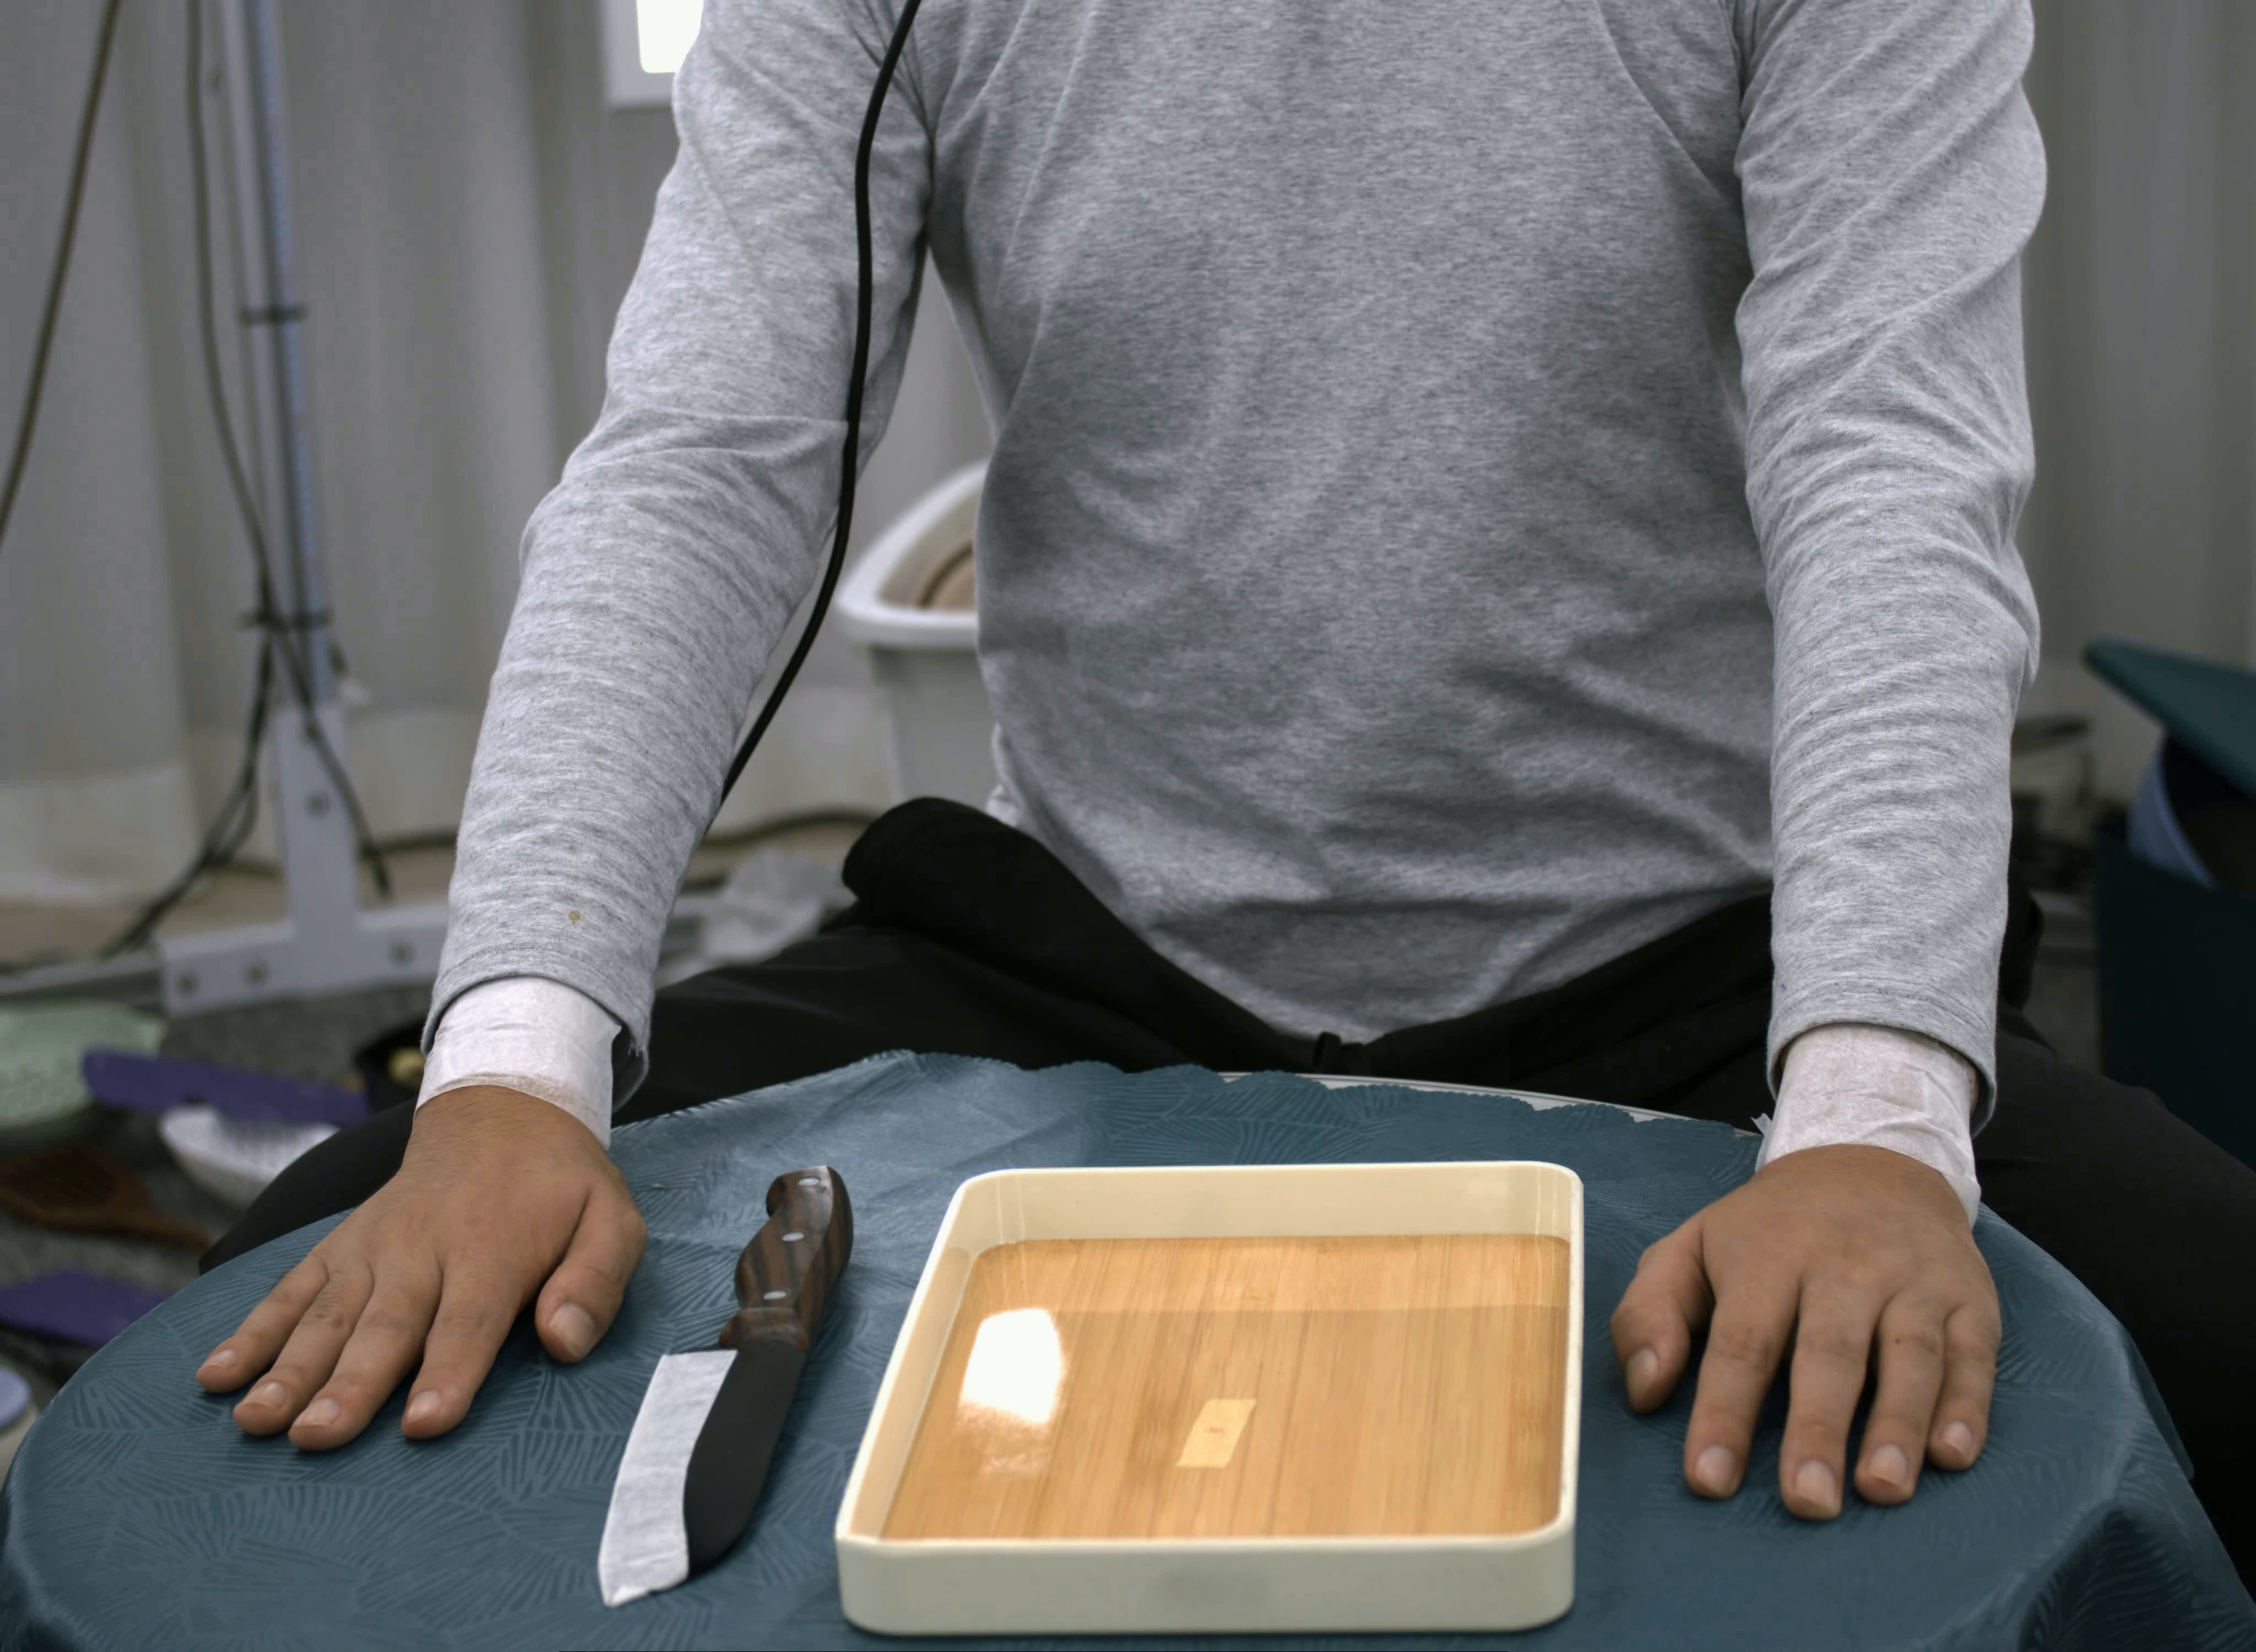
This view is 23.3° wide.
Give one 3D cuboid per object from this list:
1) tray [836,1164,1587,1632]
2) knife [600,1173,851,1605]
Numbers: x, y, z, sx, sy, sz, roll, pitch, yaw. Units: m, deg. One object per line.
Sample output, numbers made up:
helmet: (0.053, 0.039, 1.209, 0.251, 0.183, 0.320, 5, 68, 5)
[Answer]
tray: (0.031, 0.154, 1.513, 0.191, 0.027, 0.302, -1, 15, 6)
knife: (-0.112, 0.158, 1.547, 0.050, 0.020, 0.291, -6, 16, 9)
